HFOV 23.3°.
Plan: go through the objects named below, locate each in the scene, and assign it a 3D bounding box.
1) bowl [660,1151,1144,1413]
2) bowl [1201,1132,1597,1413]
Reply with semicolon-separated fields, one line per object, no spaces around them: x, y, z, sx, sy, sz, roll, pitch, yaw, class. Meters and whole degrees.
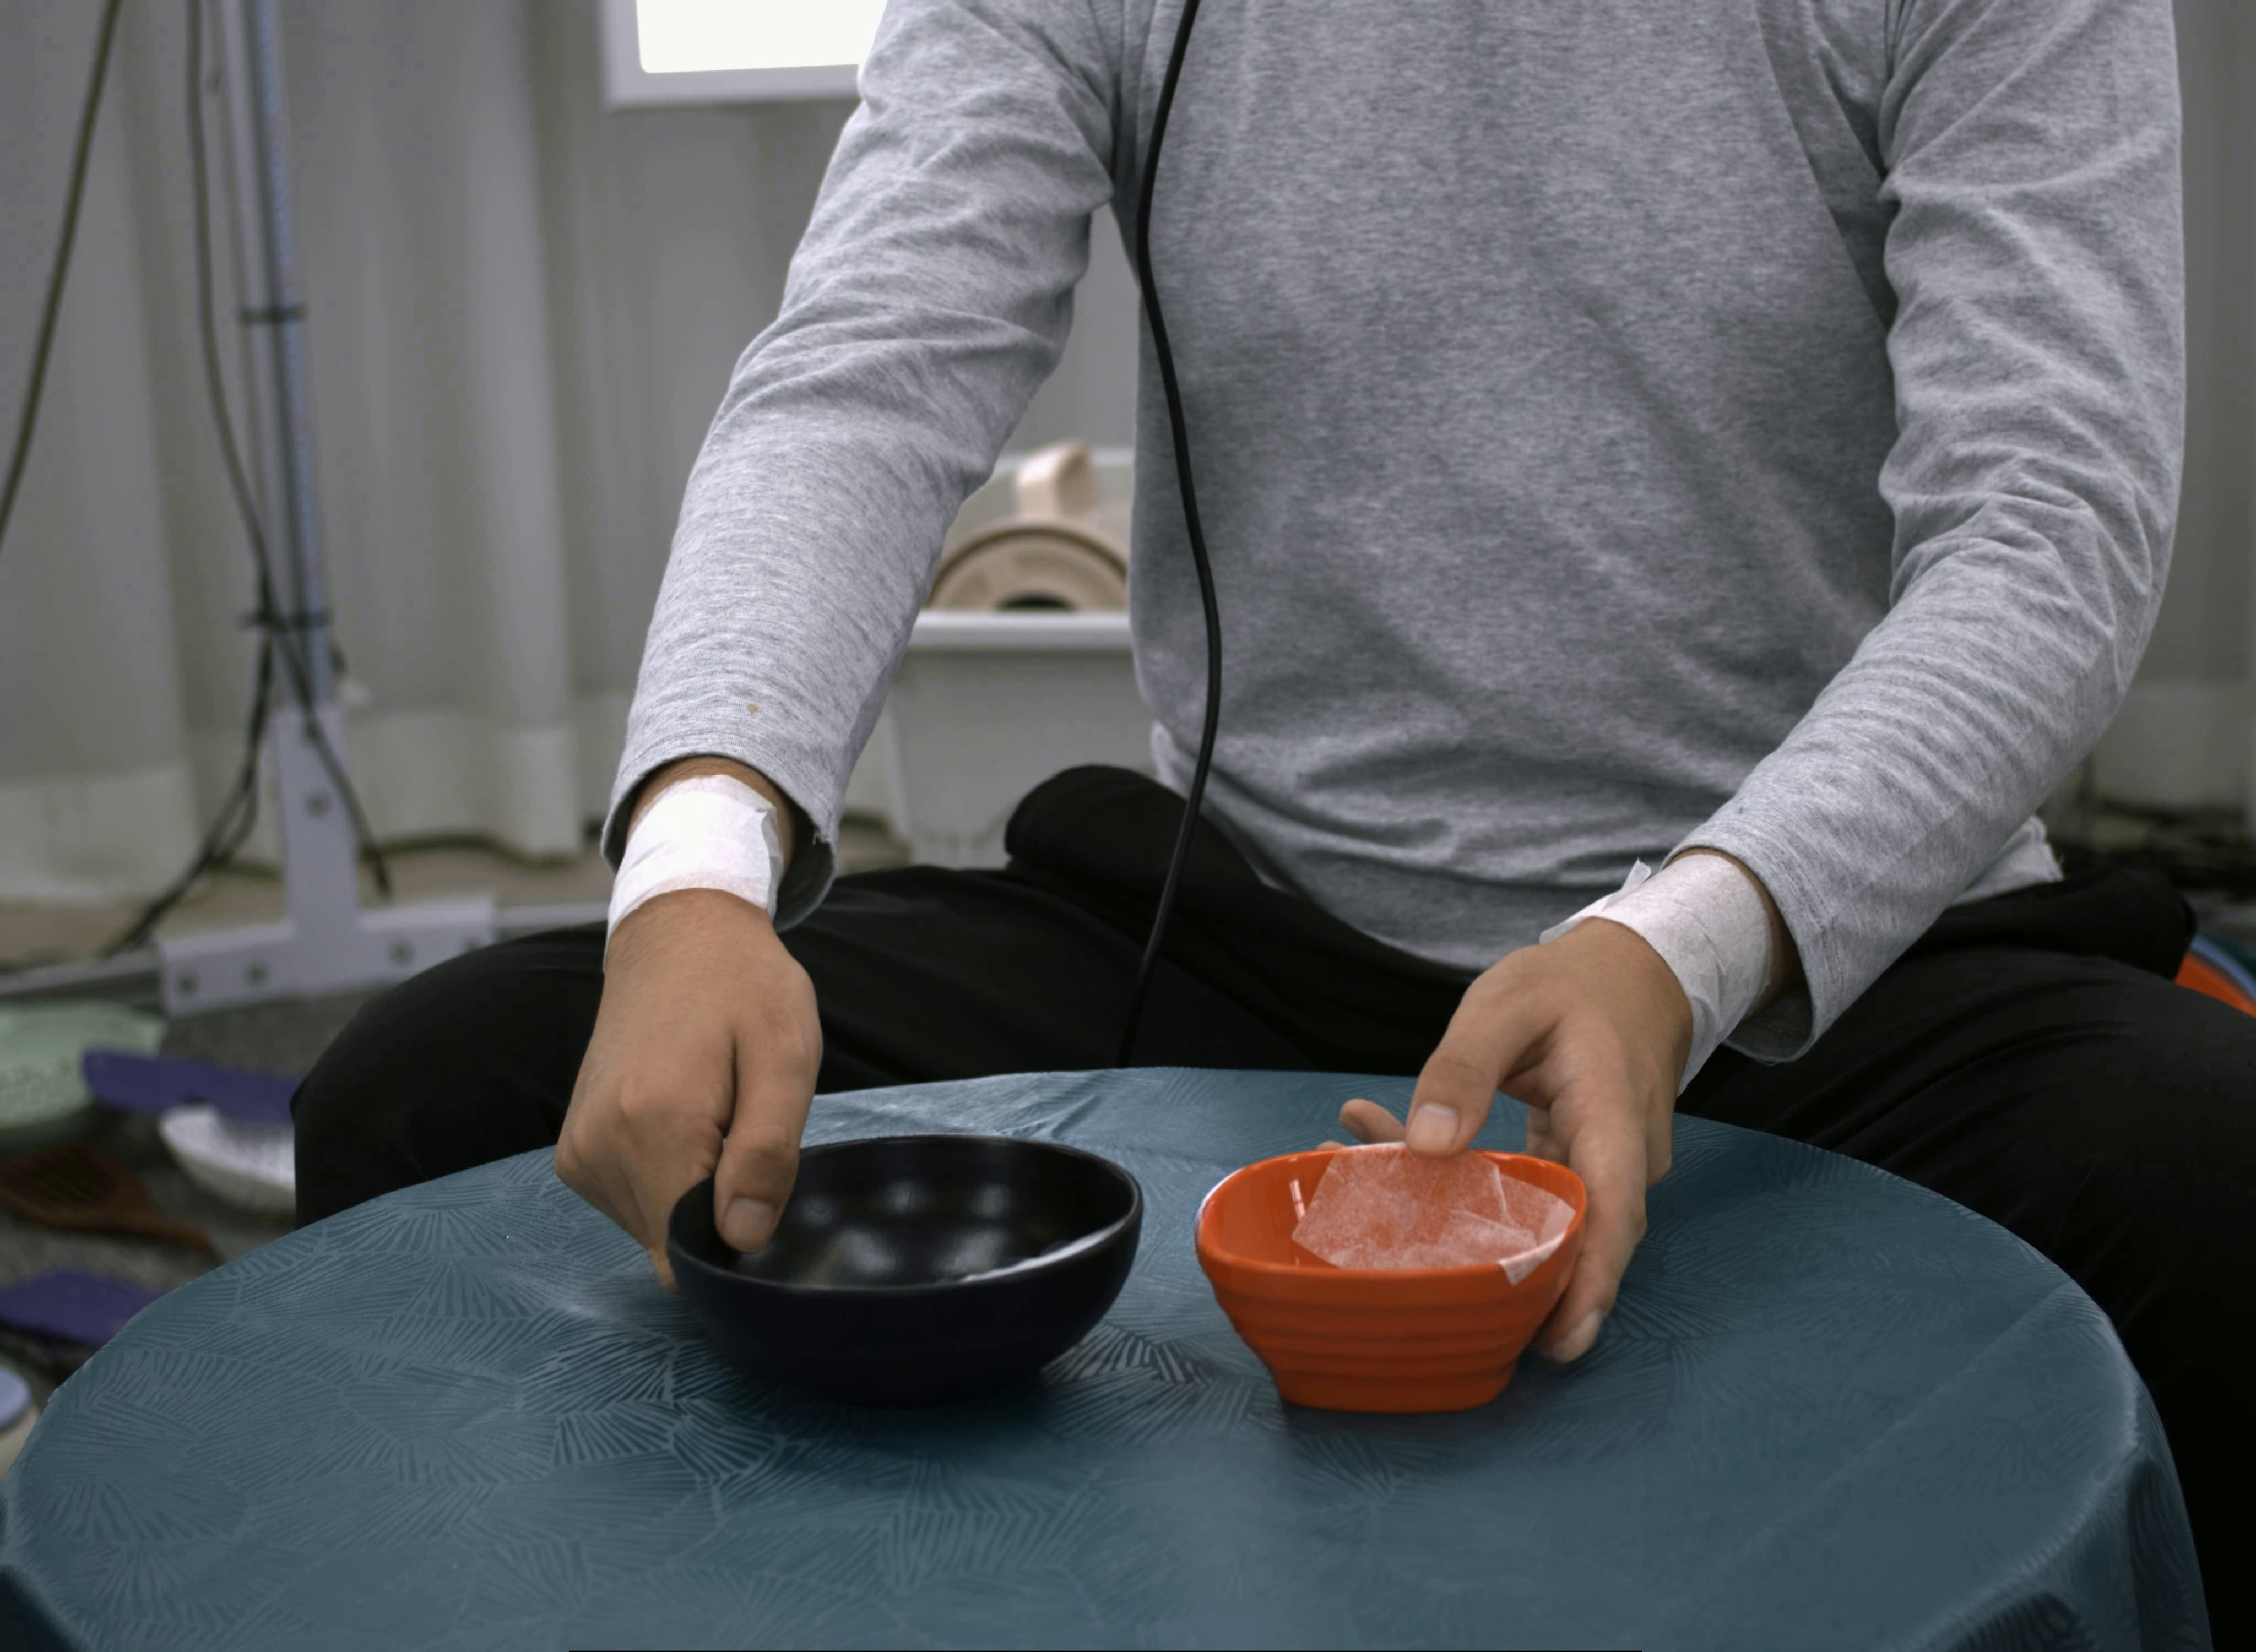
-0.064;0.135;1.569;0.139;0.049;0.141;-1;11;0;bowl
0.078;0.129;1.542;0.118;0.051;0.120;-4;17;1;bowl
